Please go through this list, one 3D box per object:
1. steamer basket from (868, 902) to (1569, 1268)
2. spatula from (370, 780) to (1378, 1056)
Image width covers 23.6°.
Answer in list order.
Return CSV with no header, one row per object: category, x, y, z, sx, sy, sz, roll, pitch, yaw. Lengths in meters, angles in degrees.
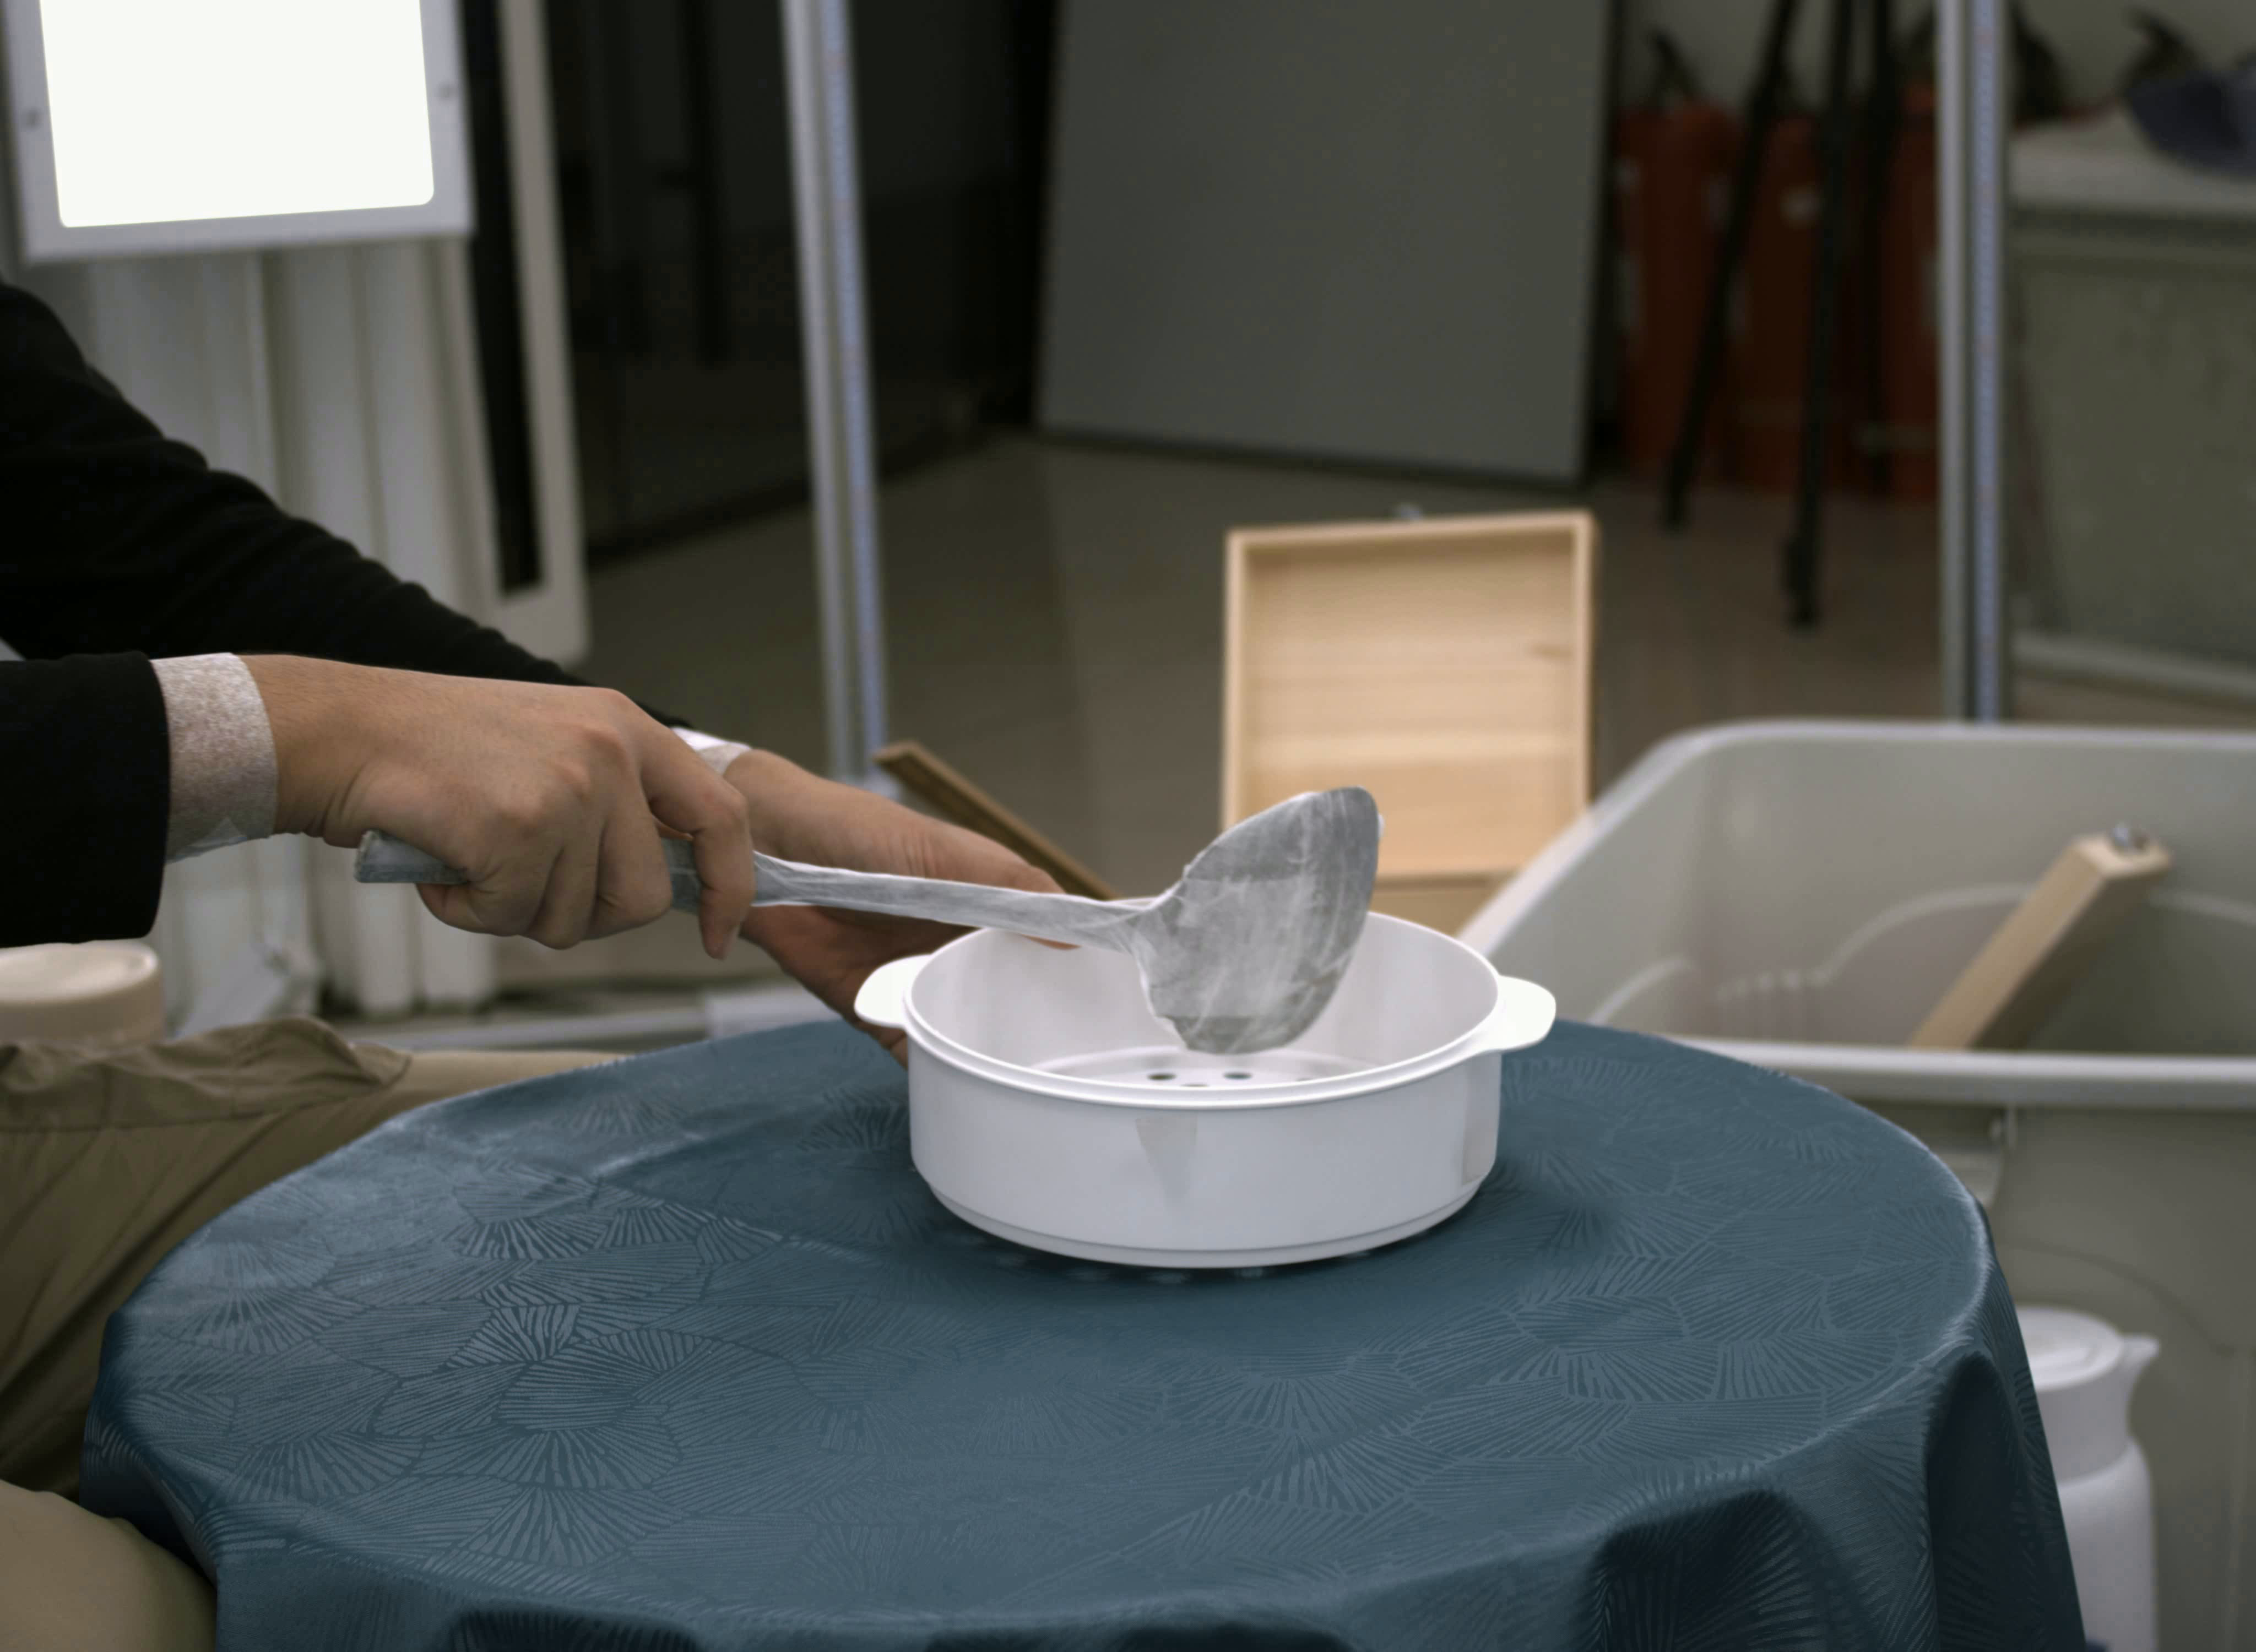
steamer basket,0.030,0.083,1.753,0.229,0.070,0.201,1,15,11
spatula,-0.073,0.021,1.718,0.356,0.100,0.045,6,22,-25
